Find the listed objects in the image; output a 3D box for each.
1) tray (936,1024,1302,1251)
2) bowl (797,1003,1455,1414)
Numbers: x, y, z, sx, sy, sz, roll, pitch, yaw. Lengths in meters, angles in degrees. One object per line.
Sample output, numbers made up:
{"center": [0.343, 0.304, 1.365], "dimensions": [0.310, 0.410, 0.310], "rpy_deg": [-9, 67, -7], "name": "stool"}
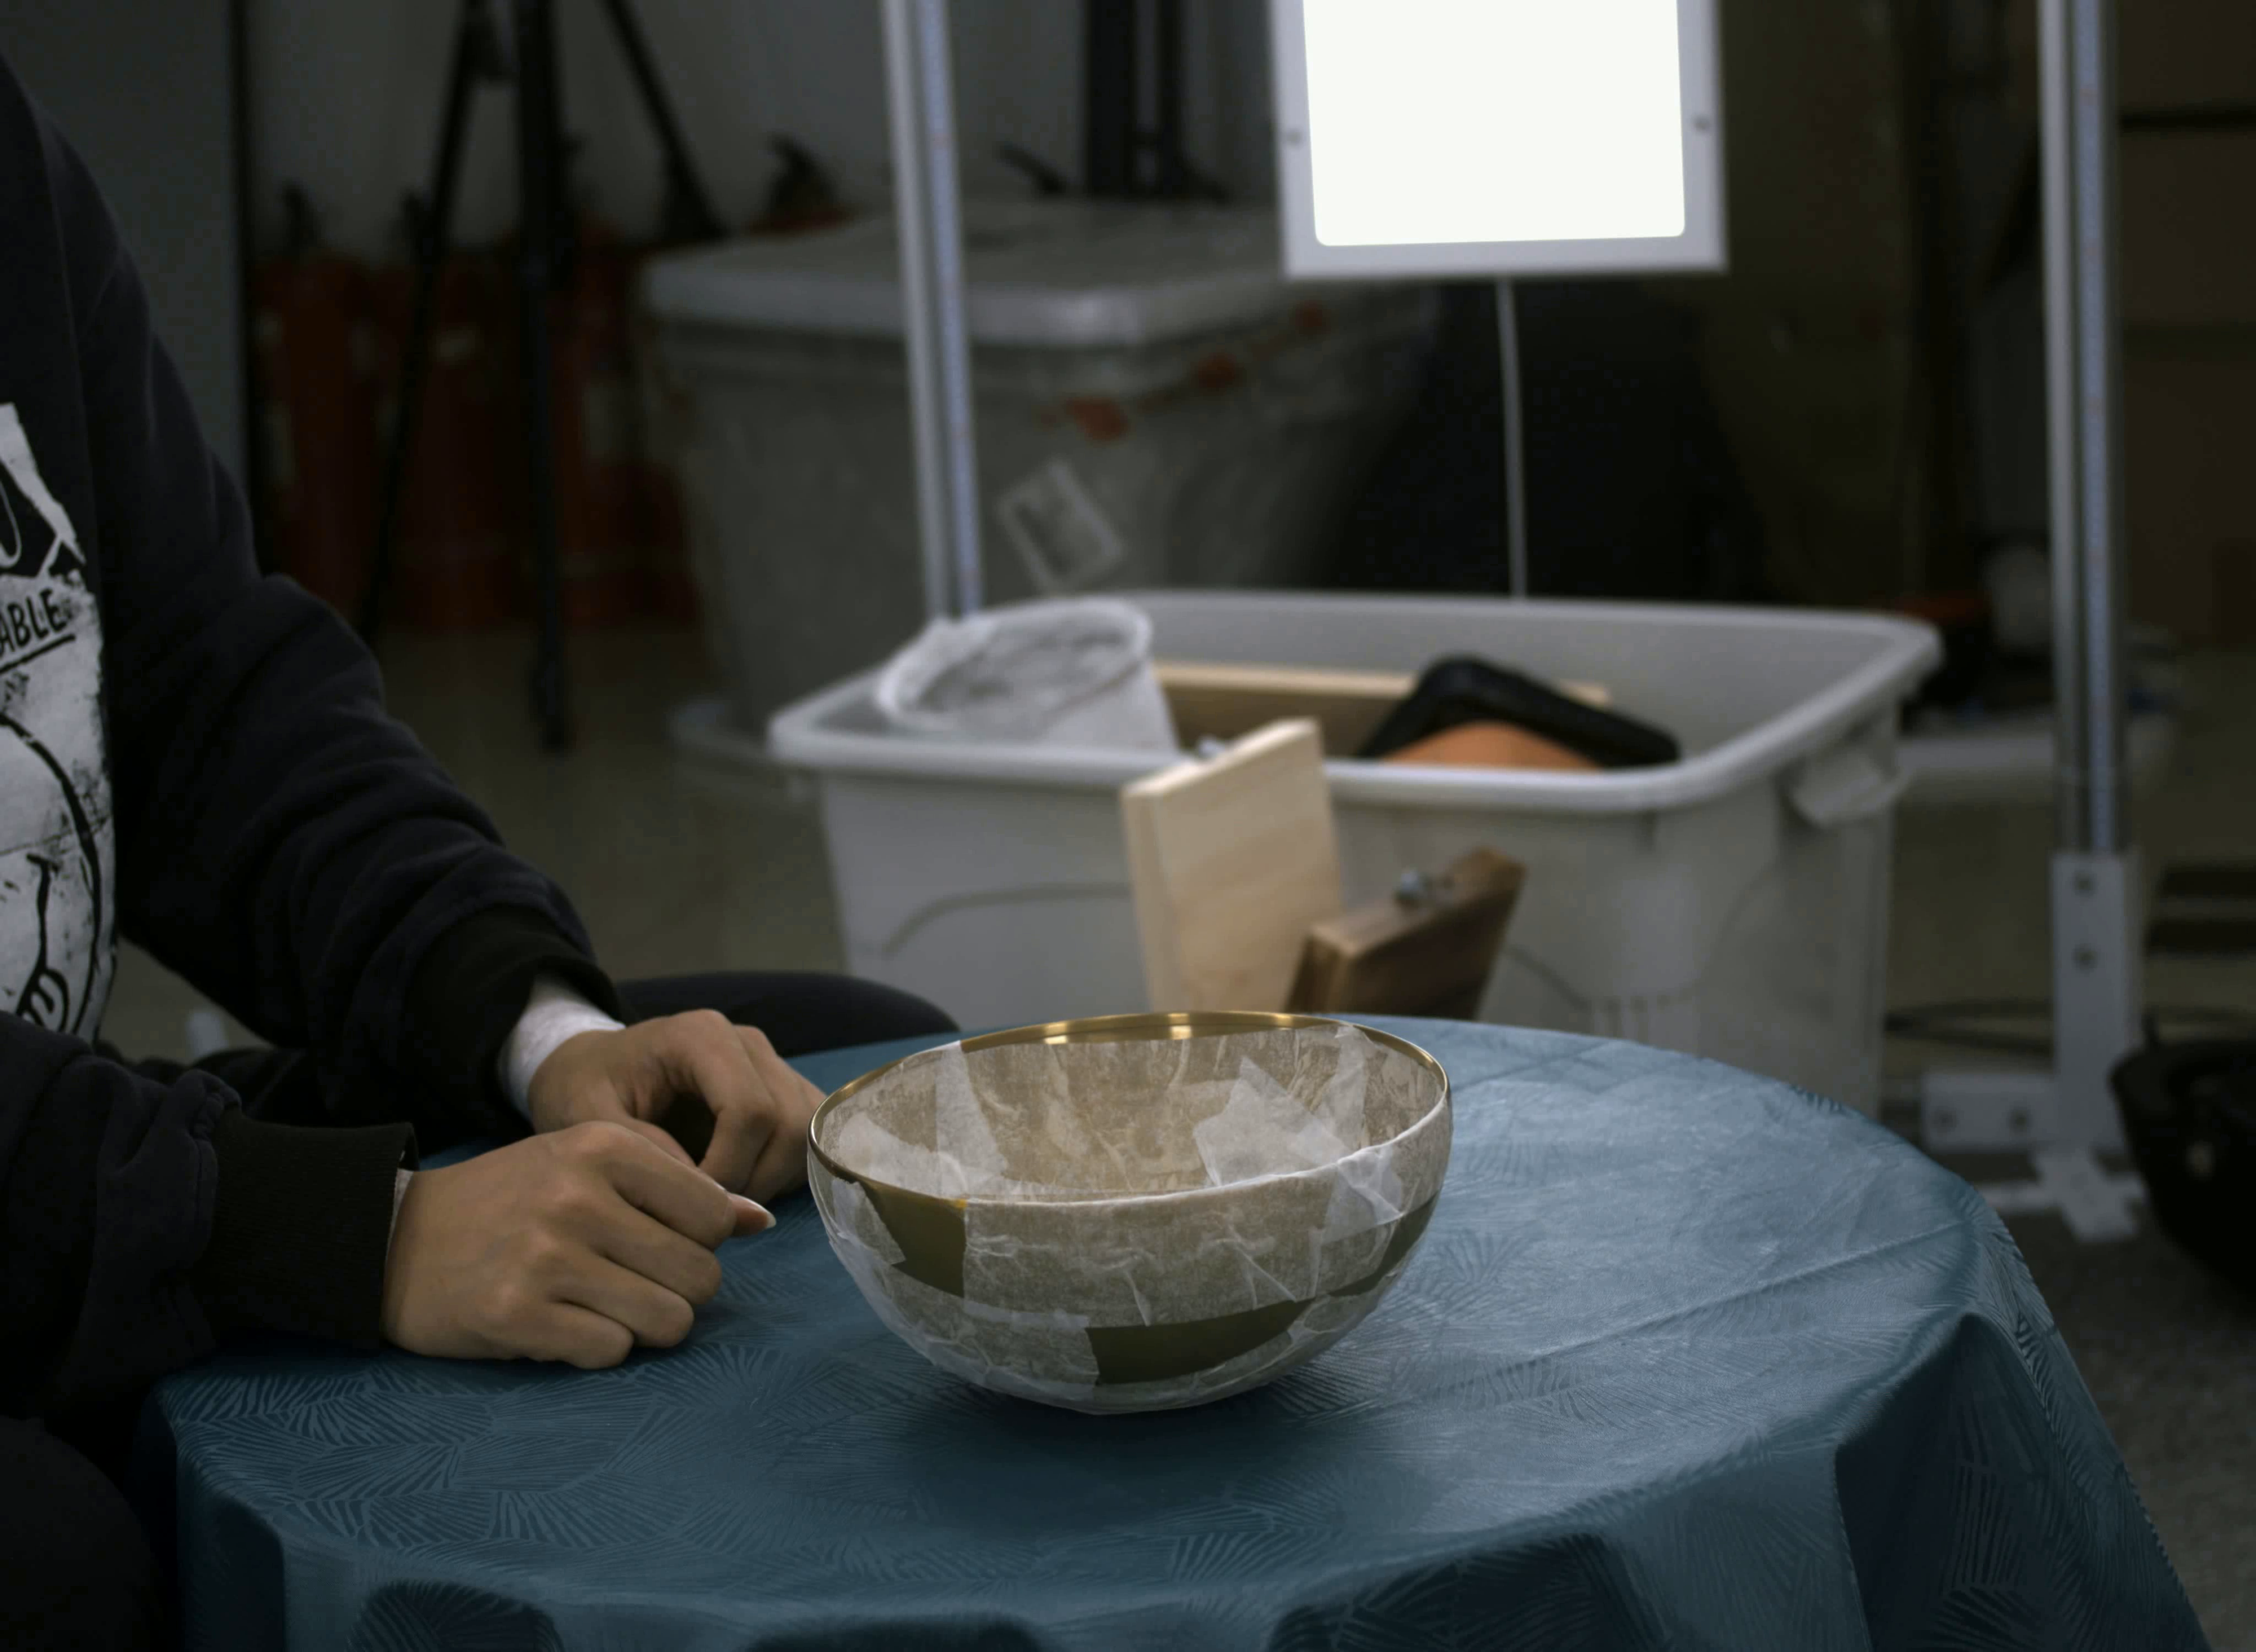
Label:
{"center": [-0.005, 0.108, 1.943], "dimensions": [0.100, 0.020, 0.233], "rpy_deg": [-10, 16, -10], "name": "tray"}
{"center": [0.004, 0.125, 1.705], "dimensions": [0.214, 0.095, 0.214], "rpy_deg": [-6, 14, 0], "name": "bowl"}
